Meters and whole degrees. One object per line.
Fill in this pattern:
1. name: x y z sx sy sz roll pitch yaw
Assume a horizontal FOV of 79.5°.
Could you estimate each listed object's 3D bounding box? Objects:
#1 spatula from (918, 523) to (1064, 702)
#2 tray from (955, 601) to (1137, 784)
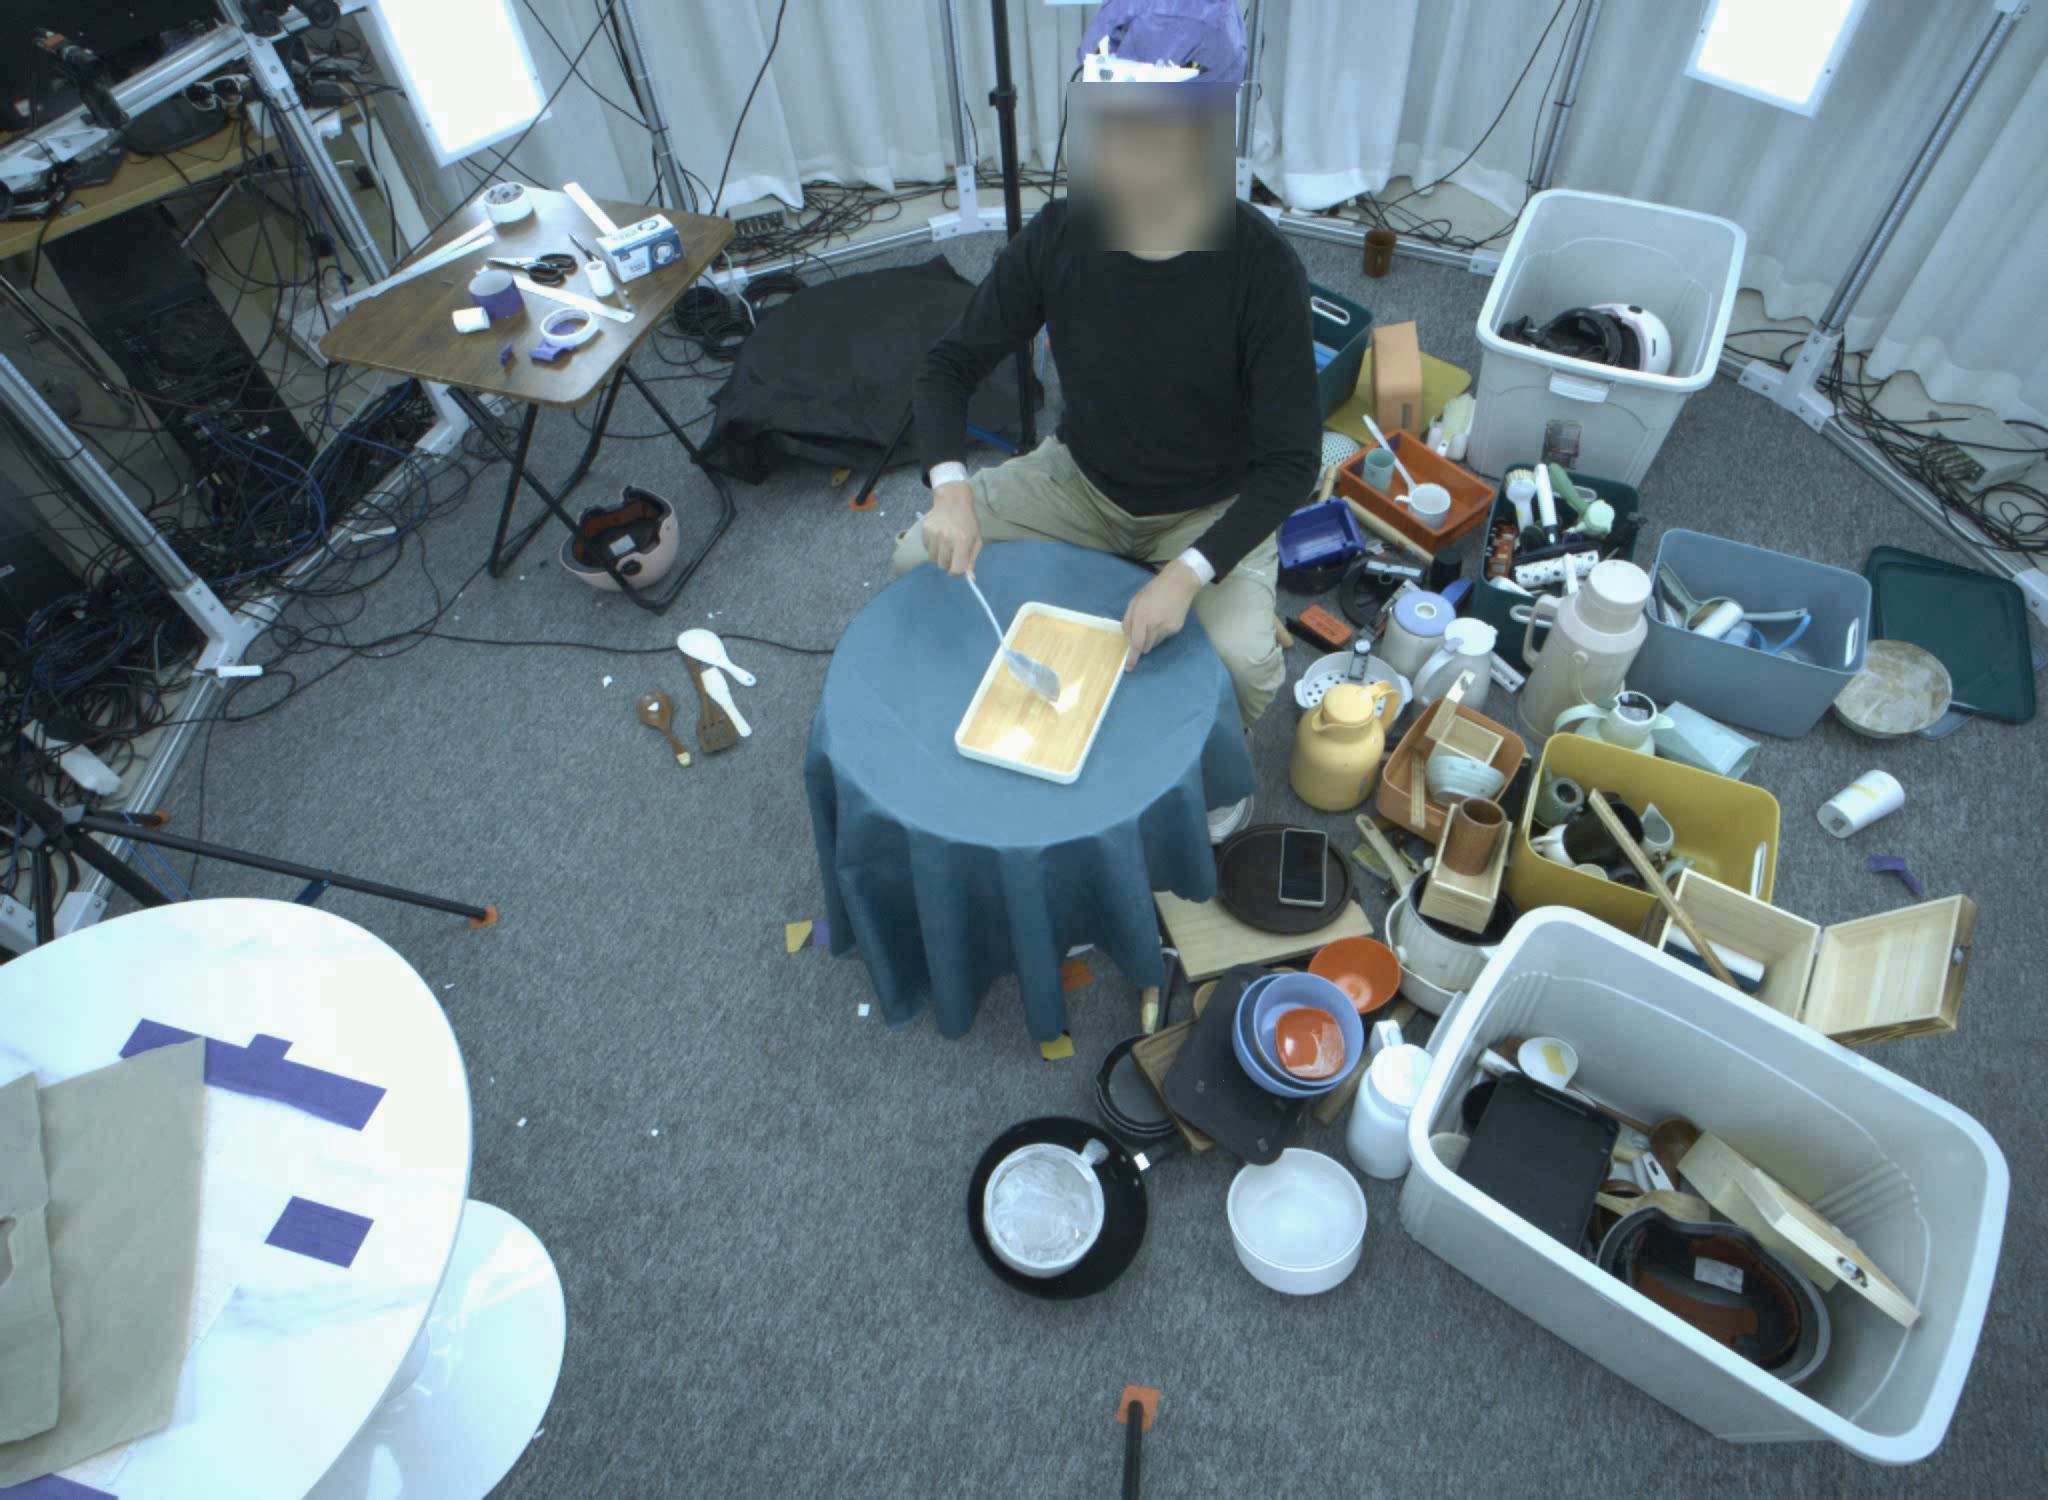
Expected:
1. spatula: -0.054 -0.217 1.824 0.045 0.099 0.361 -29 74 -11
2. tray: 0.037 -0.092 1.835 0.189 0.028 0.300 16 57 13
